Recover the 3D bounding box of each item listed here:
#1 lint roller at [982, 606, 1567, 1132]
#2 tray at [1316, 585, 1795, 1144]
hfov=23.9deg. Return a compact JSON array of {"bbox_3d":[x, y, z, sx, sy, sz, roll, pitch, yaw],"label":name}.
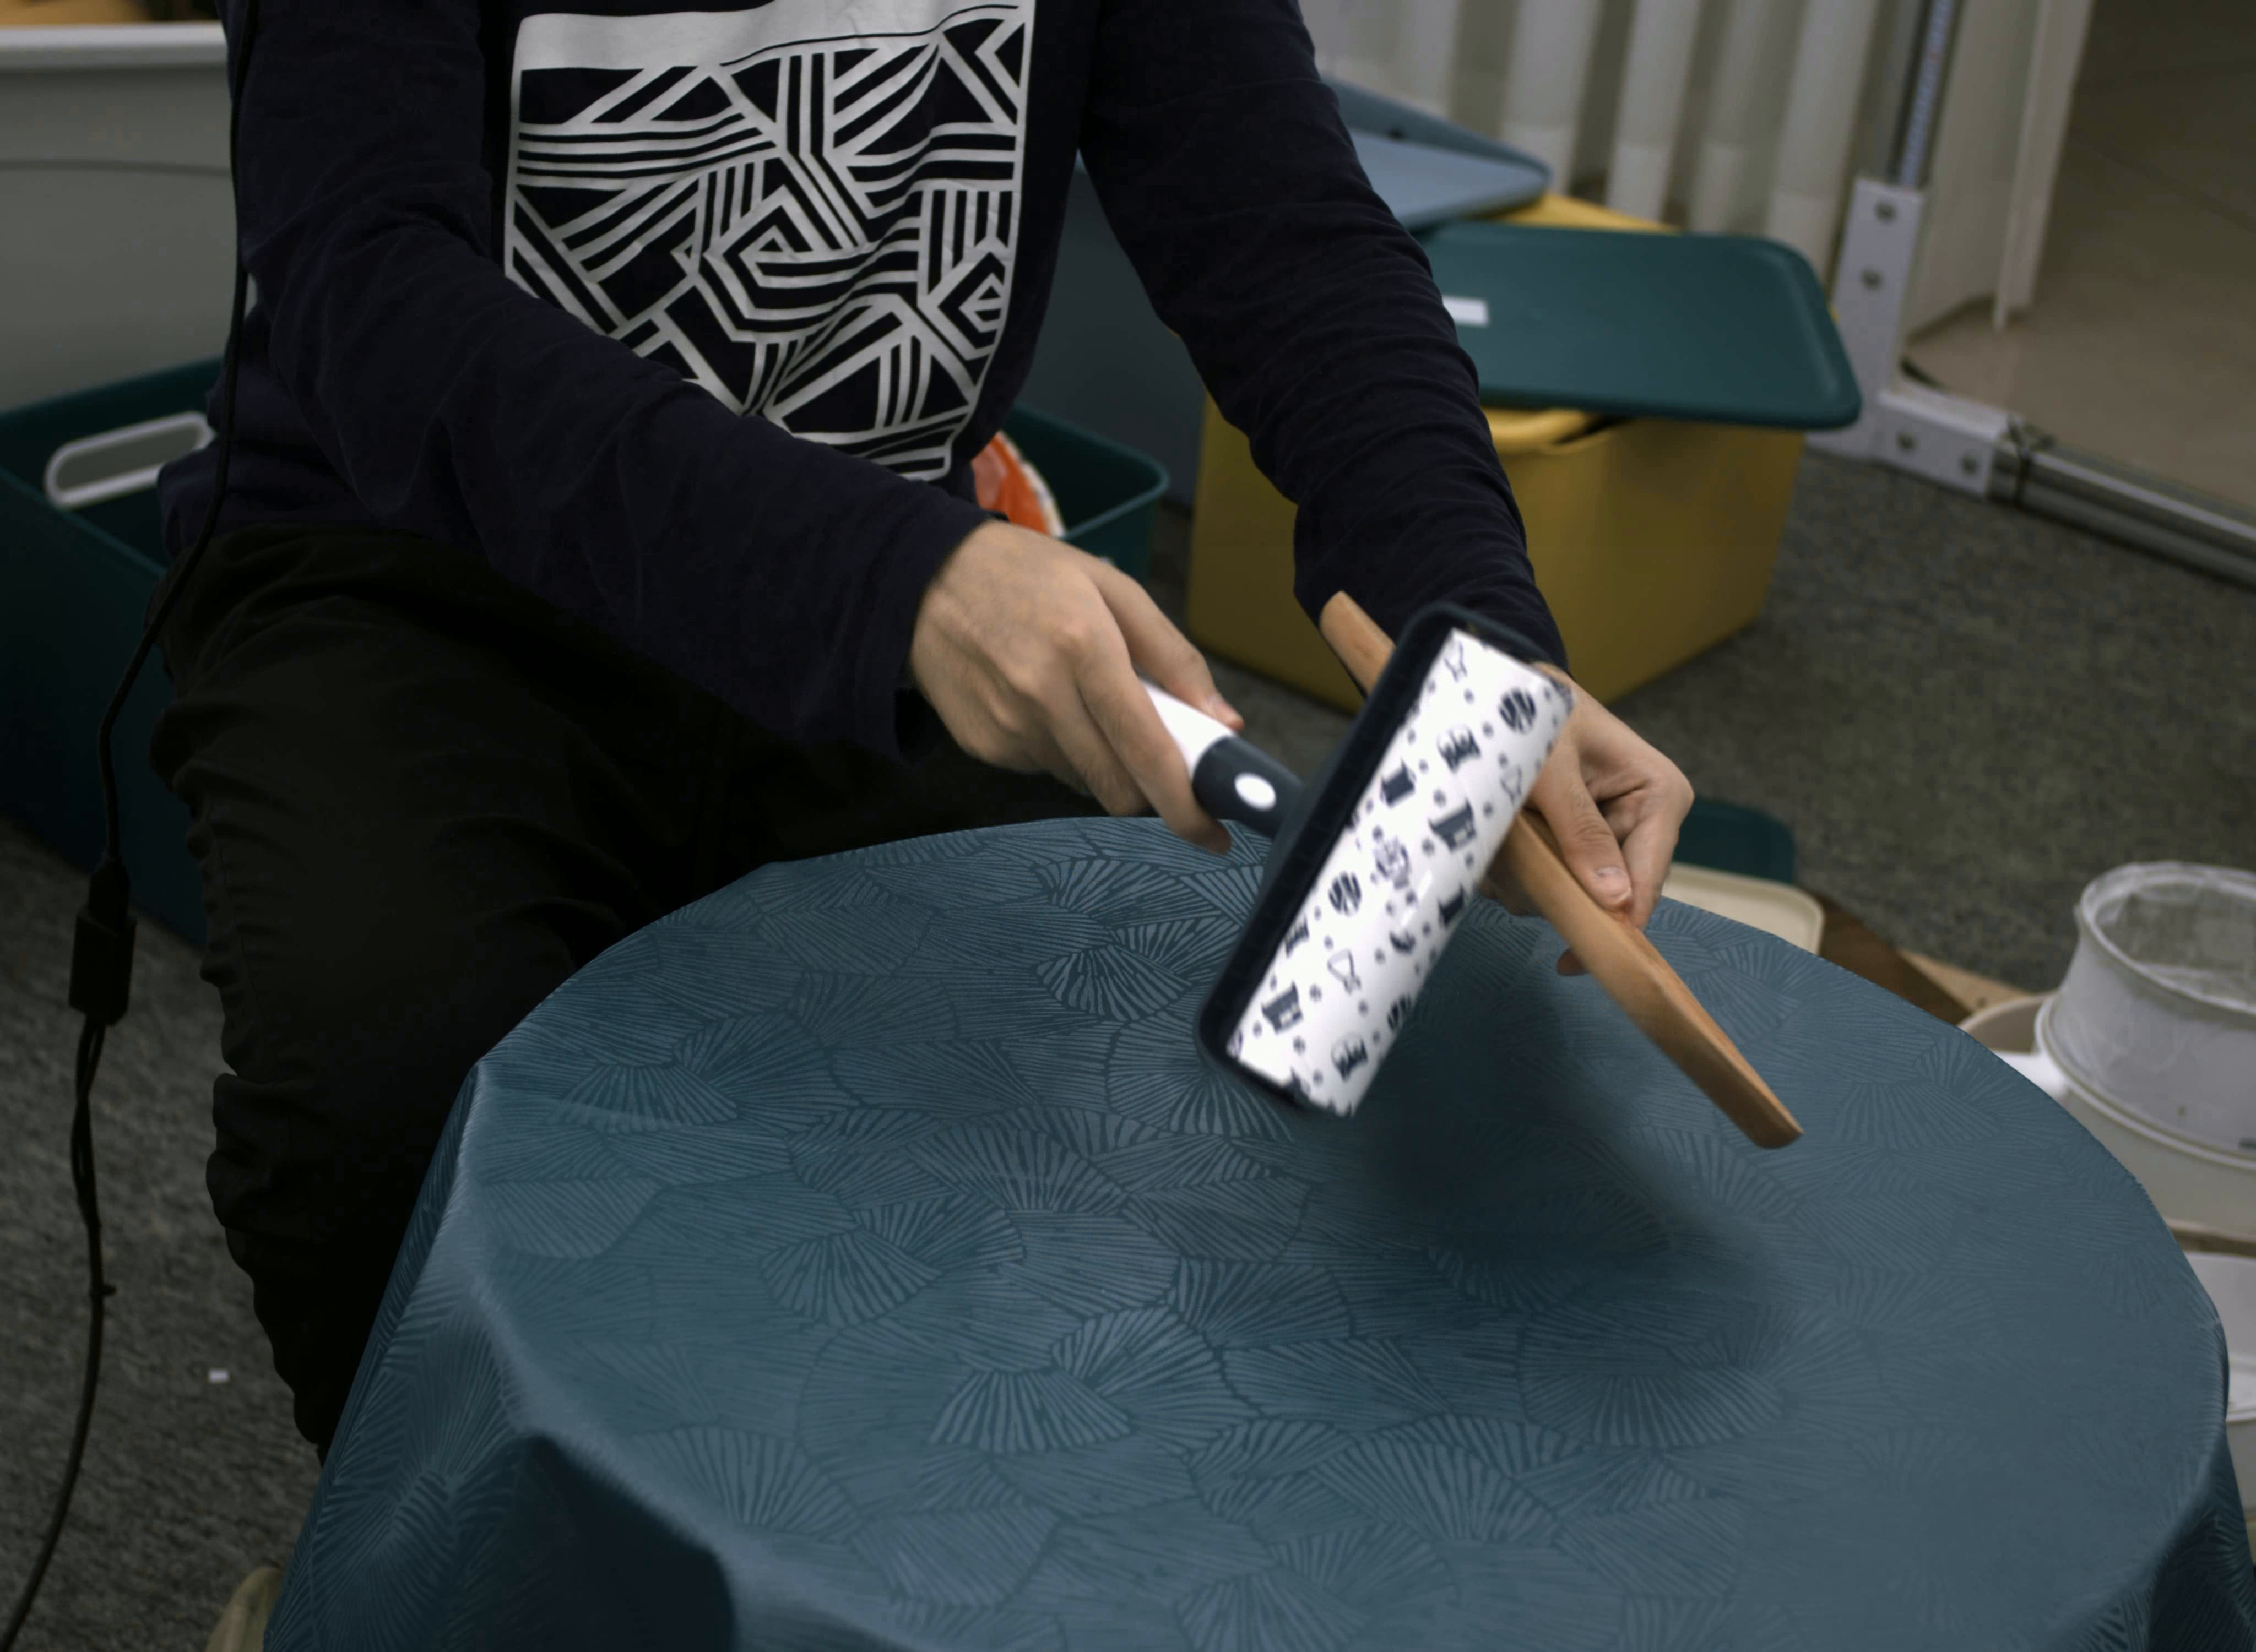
[{"bbox_3d":[0.024,-0.020,1.828,0.249,0.176,0.050,30,4,42],"label":"lint roller"},{"bbox_3d":[0.144,0.012,1.836,0.023,0.129,0.253,-40,42,4],"label":"tray"}]
